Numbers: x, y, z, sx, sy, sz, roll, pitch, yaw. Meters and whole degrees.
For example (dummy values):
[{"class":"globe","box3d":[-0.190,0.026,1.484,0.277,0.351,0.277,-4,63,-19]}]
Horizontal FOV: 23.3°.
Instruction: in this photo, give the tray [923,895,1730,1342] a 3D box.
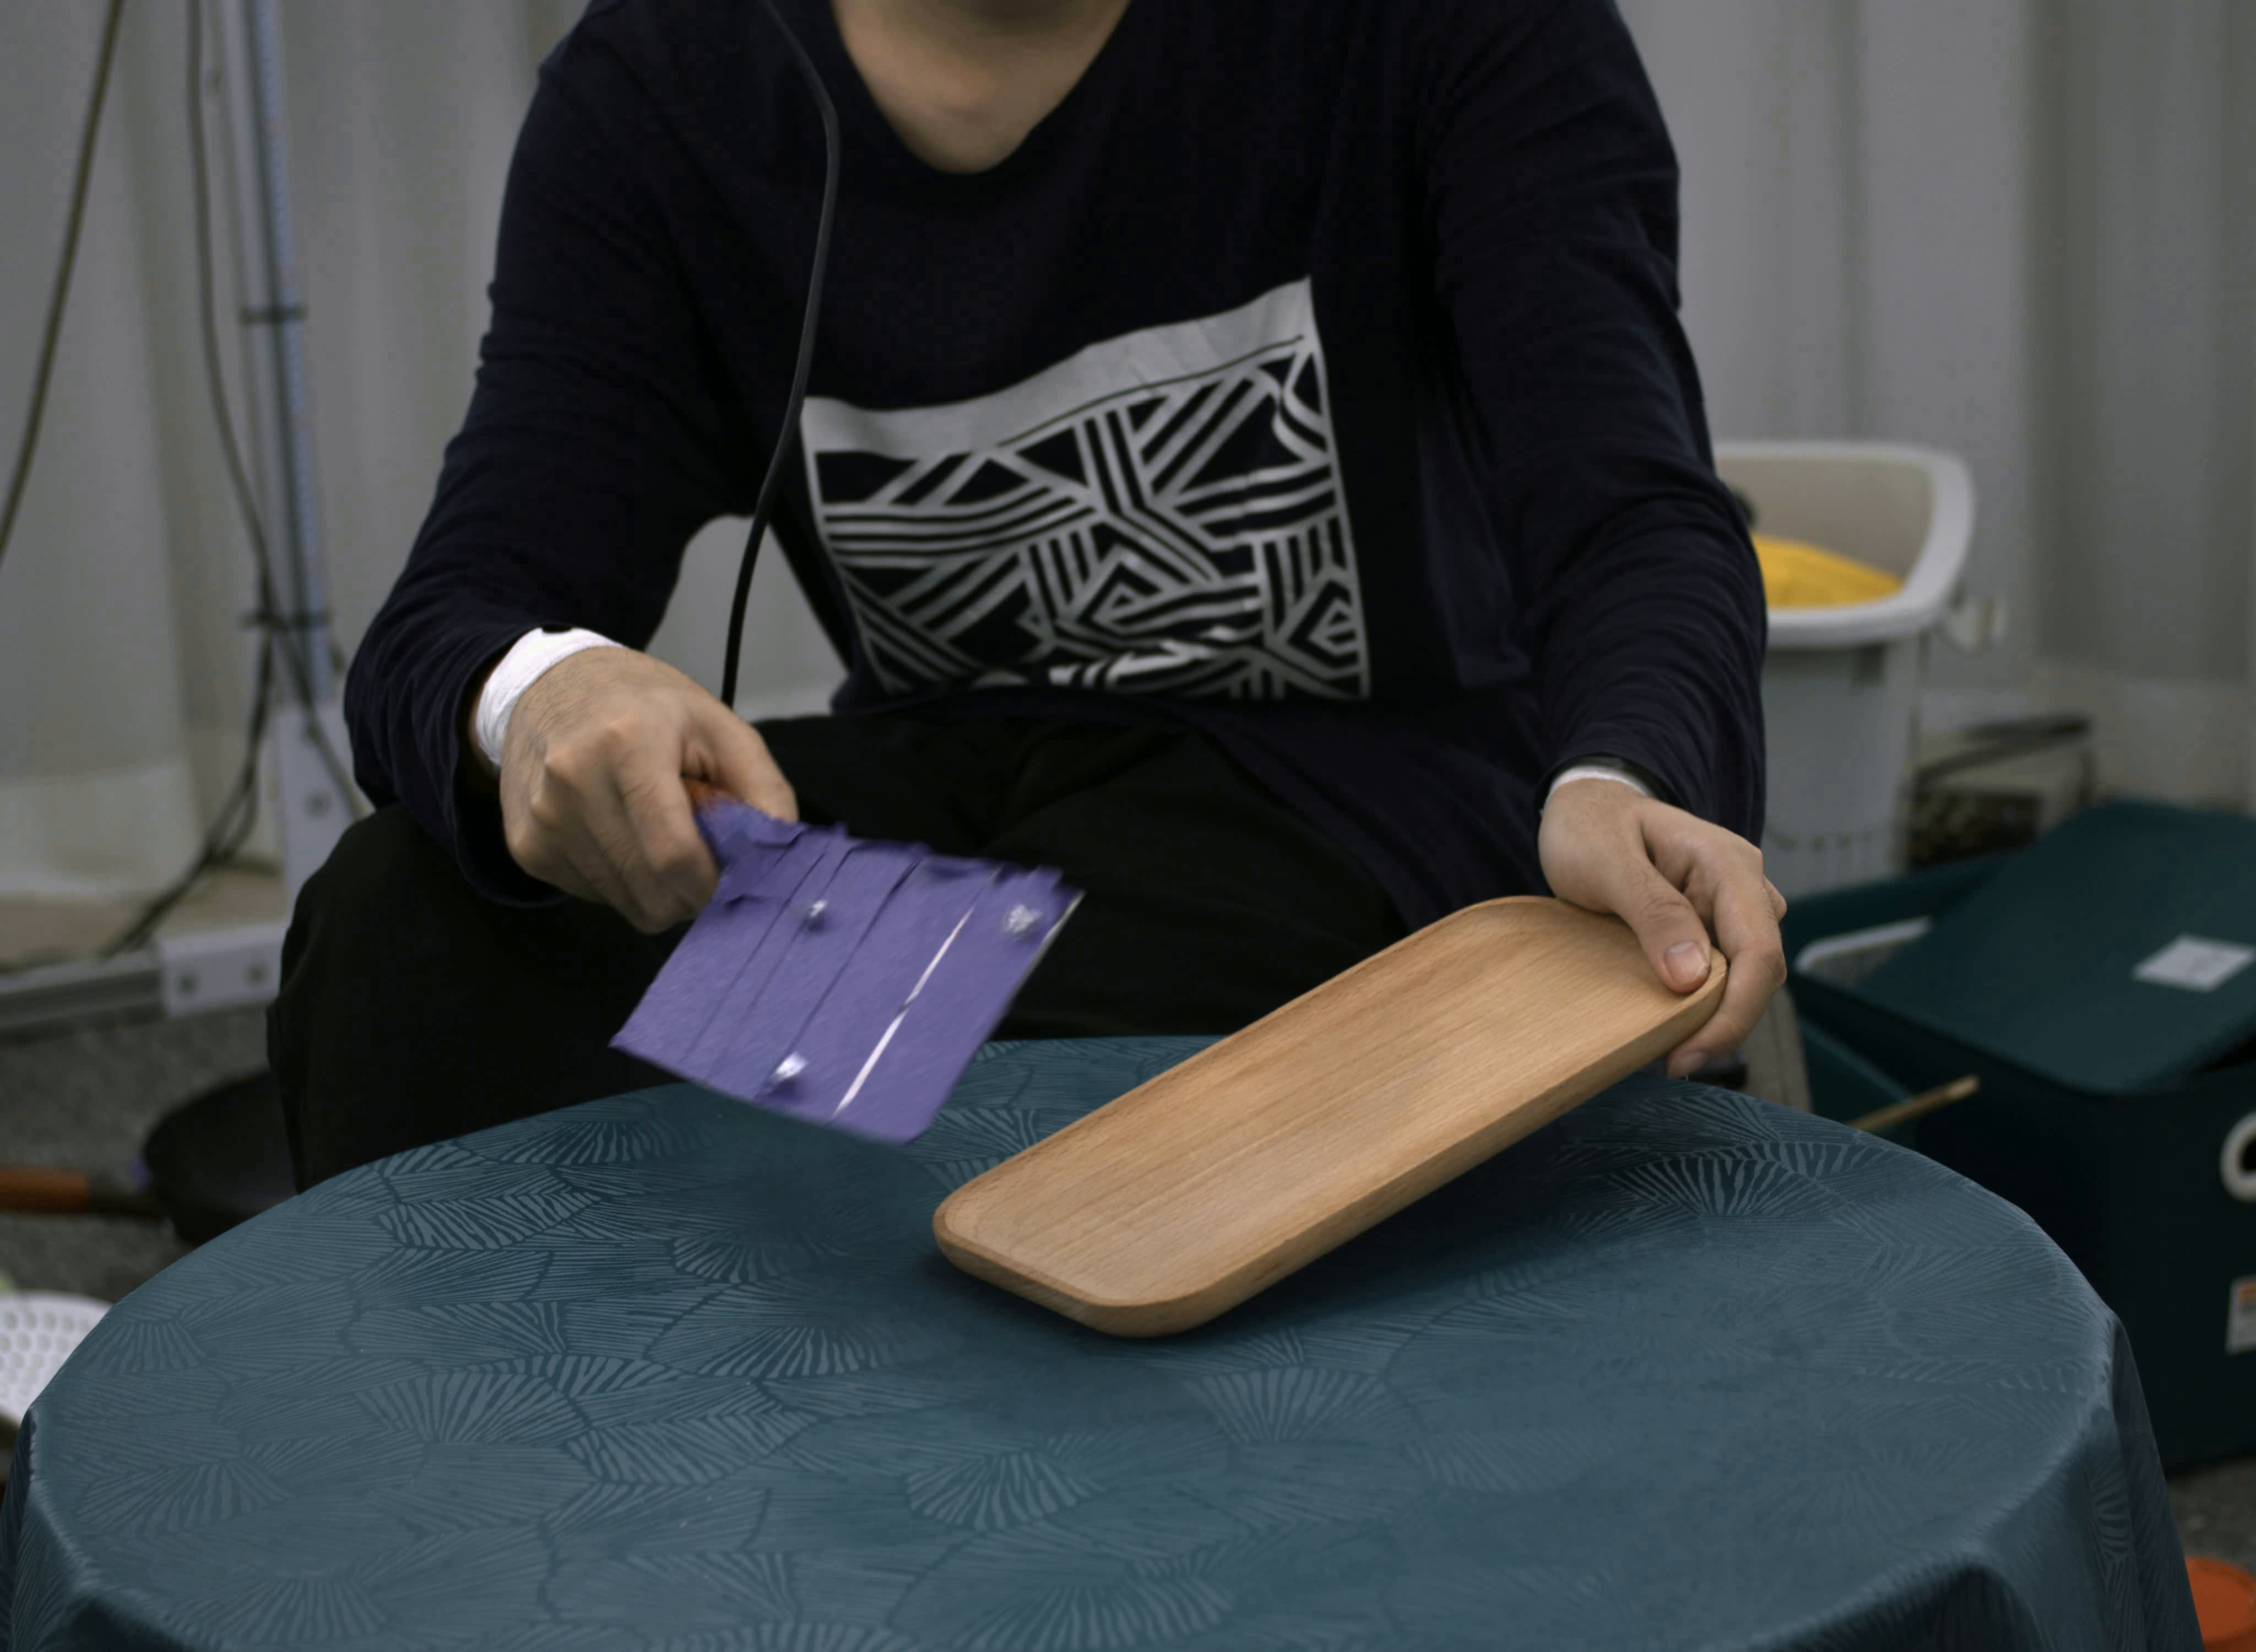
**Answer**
[{"class":"tray","box3d":[0.063,0.087,1.675,0.251,0.023,0.131,-27,24,-27]}]

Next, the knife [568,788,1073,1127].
[{"class":"knife","box3d":[-0.118,0.038,1.678,0.104,0.032,0.317,-53,24,-13]}]
